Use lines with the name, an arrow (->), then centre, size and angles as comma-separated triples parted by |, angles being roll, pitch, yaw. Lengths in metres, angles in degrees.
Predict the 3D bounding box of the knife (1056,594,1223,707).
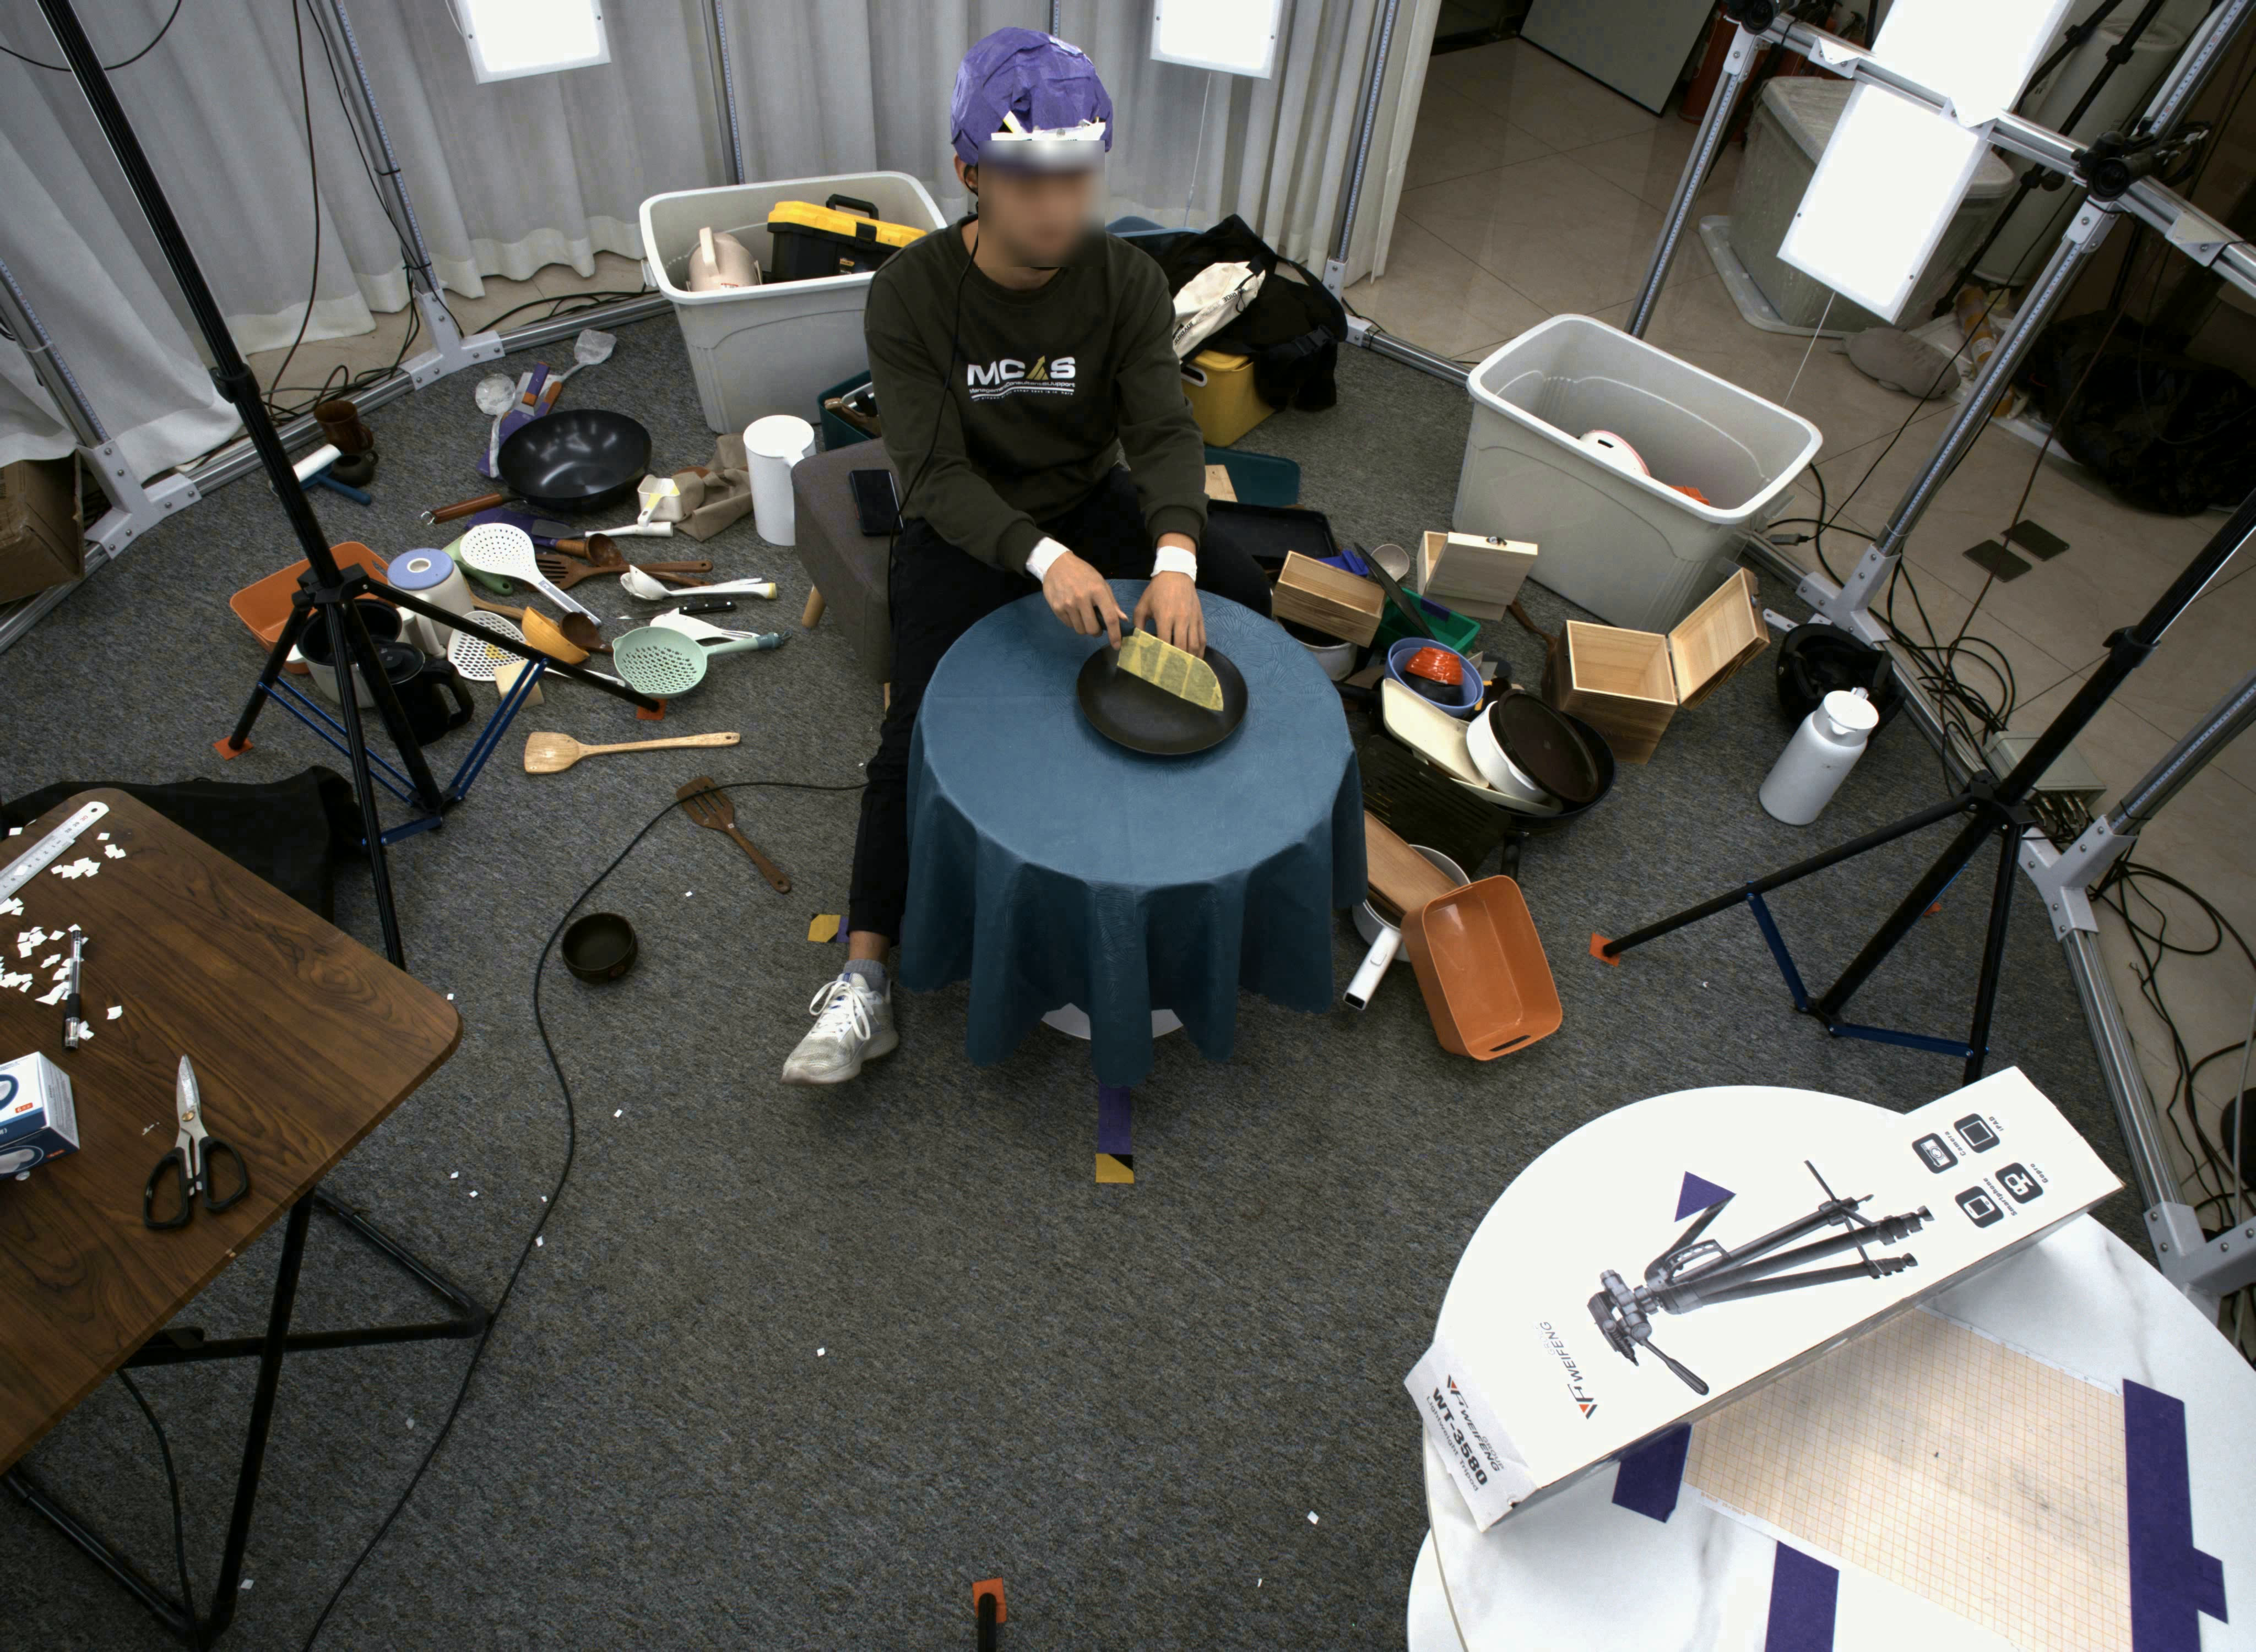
knife -> 0.015, -0.250, 1.824 | 0.292, 0.079, 0.027 | 32, 39, 18

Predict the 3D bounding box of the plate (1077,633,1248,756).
plate -> 0.048, -0.184, 1.815 | 0.244, 0.023, 0.250 | 2, 49, -3
